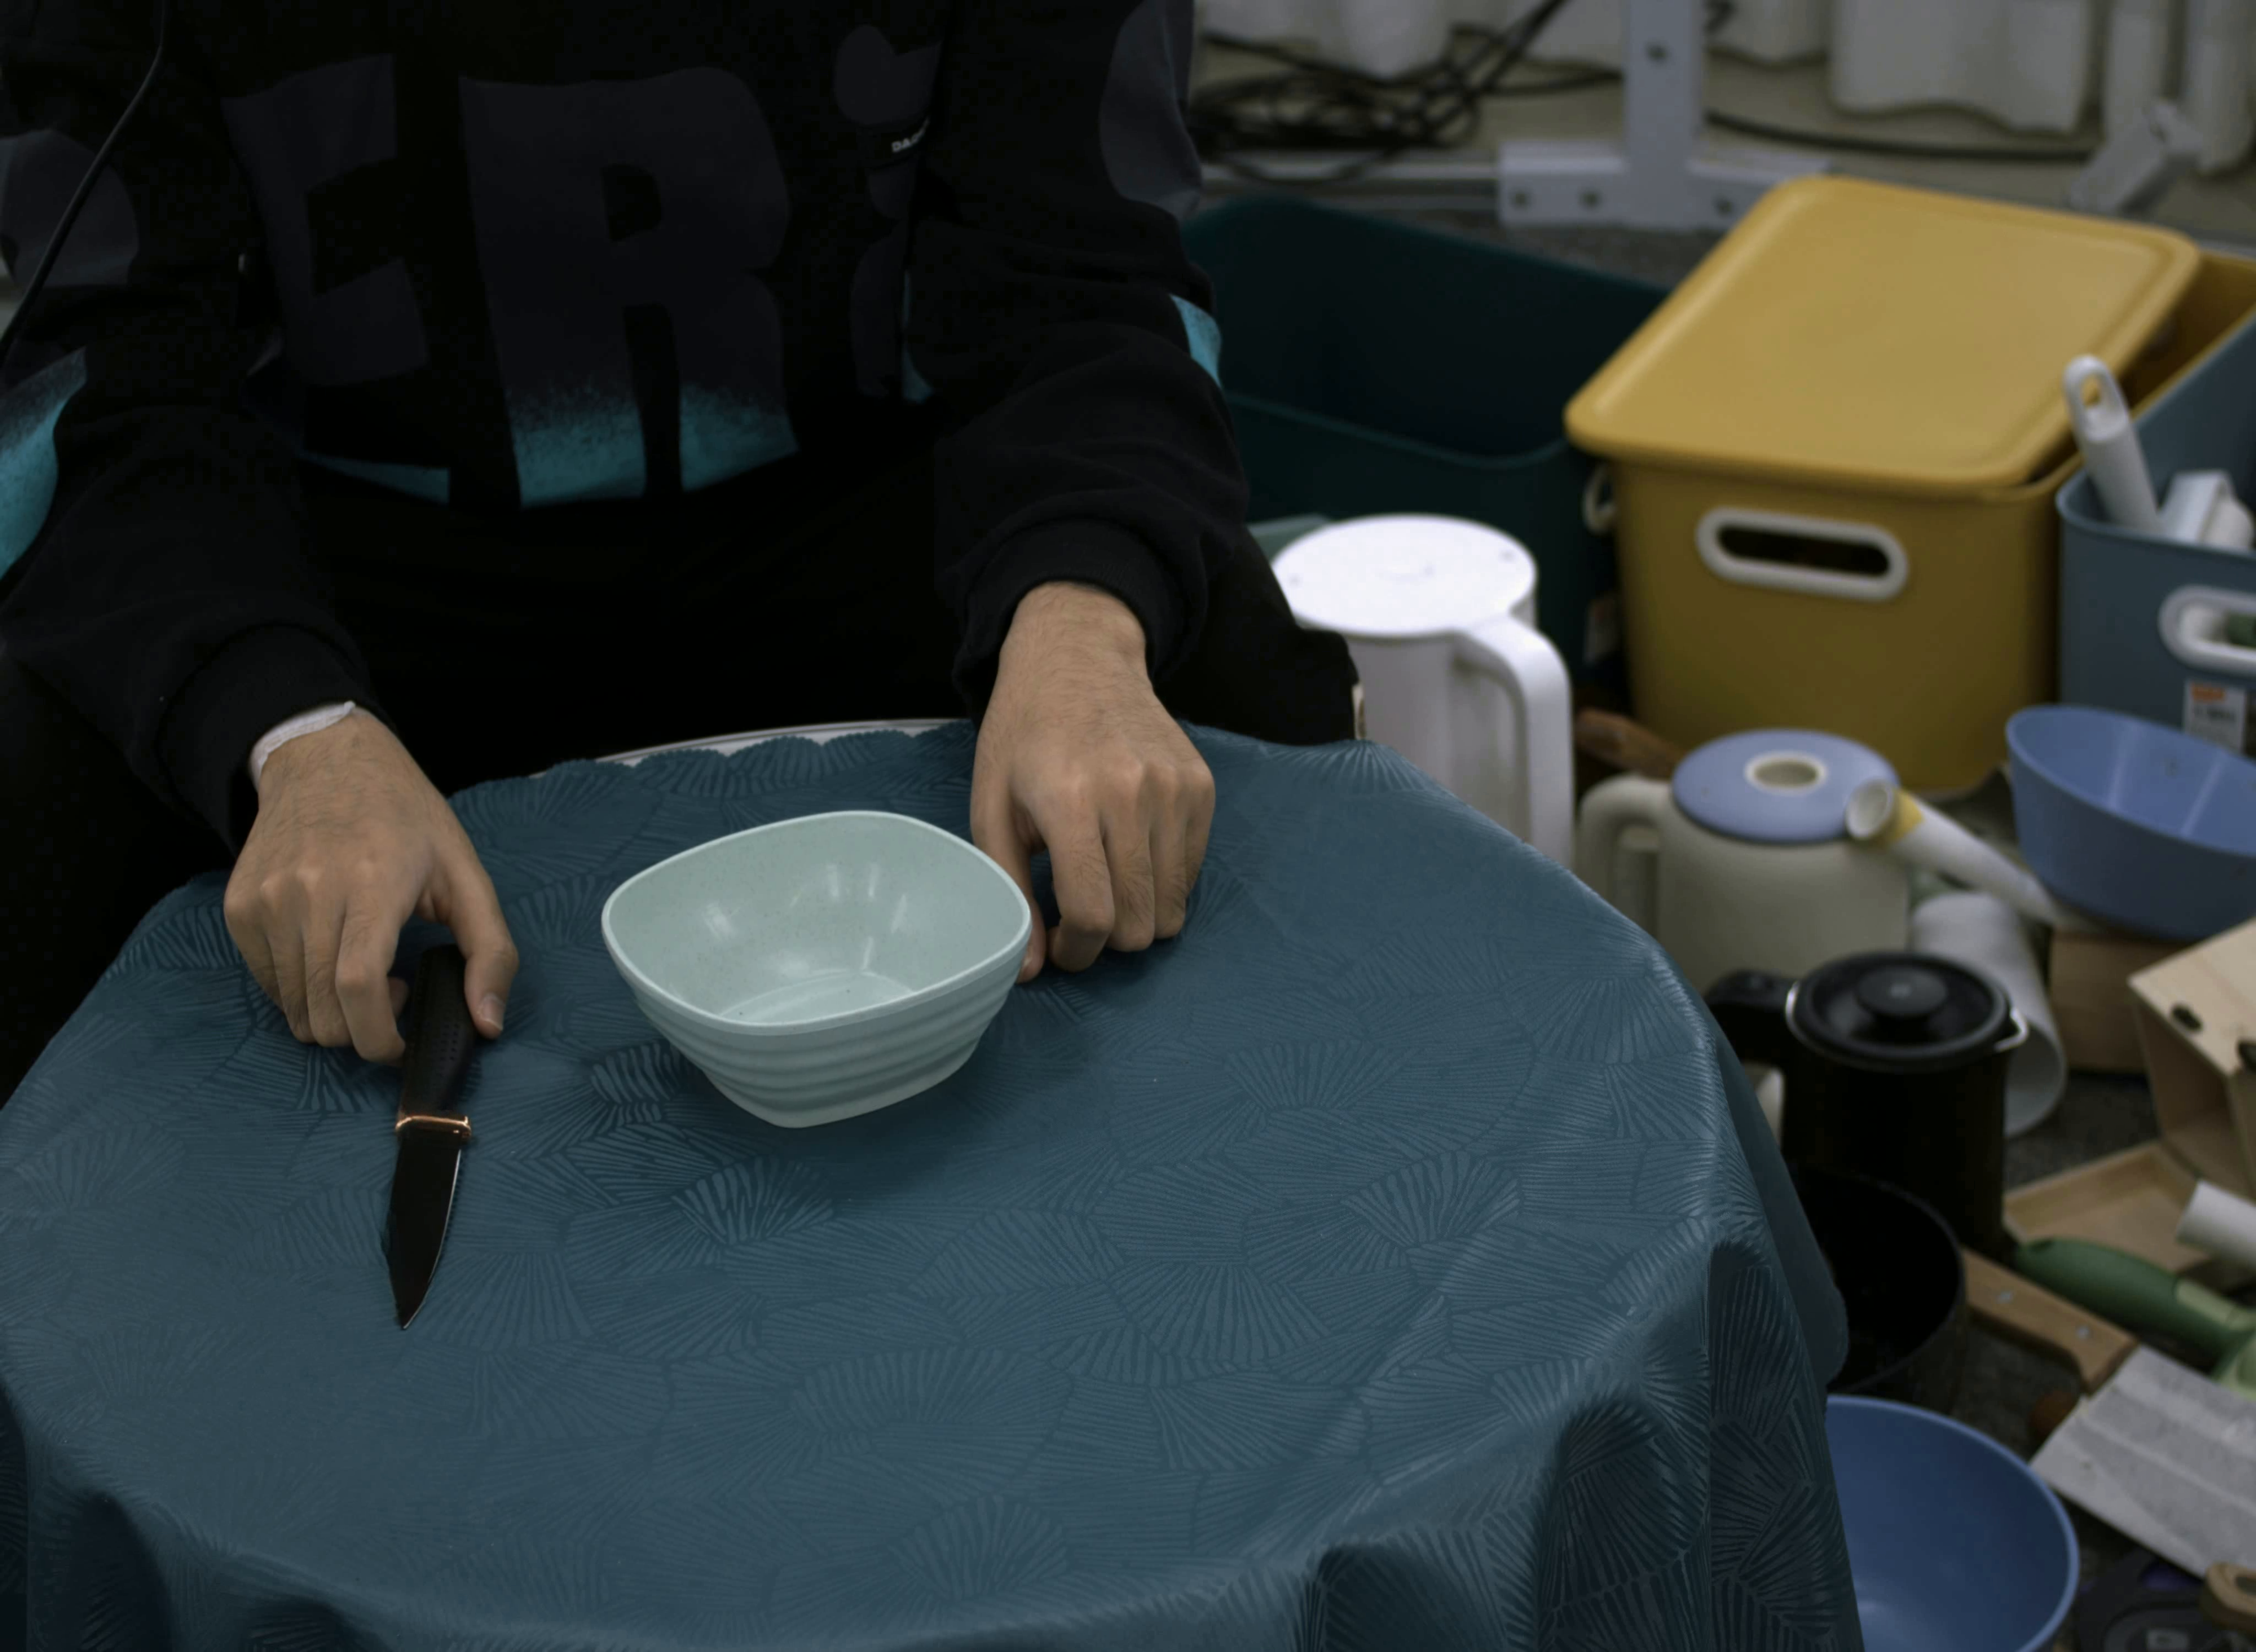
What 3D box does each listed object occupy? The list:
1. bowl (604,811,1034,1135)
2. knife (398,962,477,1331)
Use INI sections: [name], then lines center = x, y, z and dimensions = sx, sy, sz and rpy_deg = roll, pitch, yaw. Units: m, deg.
[bowl]
center = -0.104, 0.057, 1.939
dimensions = 0.150, 0.058, 0.154
rpy_deg = -3, 28, 2
[knife]
center = -0.234, 0.107, 1.902
dimensions = 0.026, 0.017, 0.229
rpy_deg = 2, 29, -6
